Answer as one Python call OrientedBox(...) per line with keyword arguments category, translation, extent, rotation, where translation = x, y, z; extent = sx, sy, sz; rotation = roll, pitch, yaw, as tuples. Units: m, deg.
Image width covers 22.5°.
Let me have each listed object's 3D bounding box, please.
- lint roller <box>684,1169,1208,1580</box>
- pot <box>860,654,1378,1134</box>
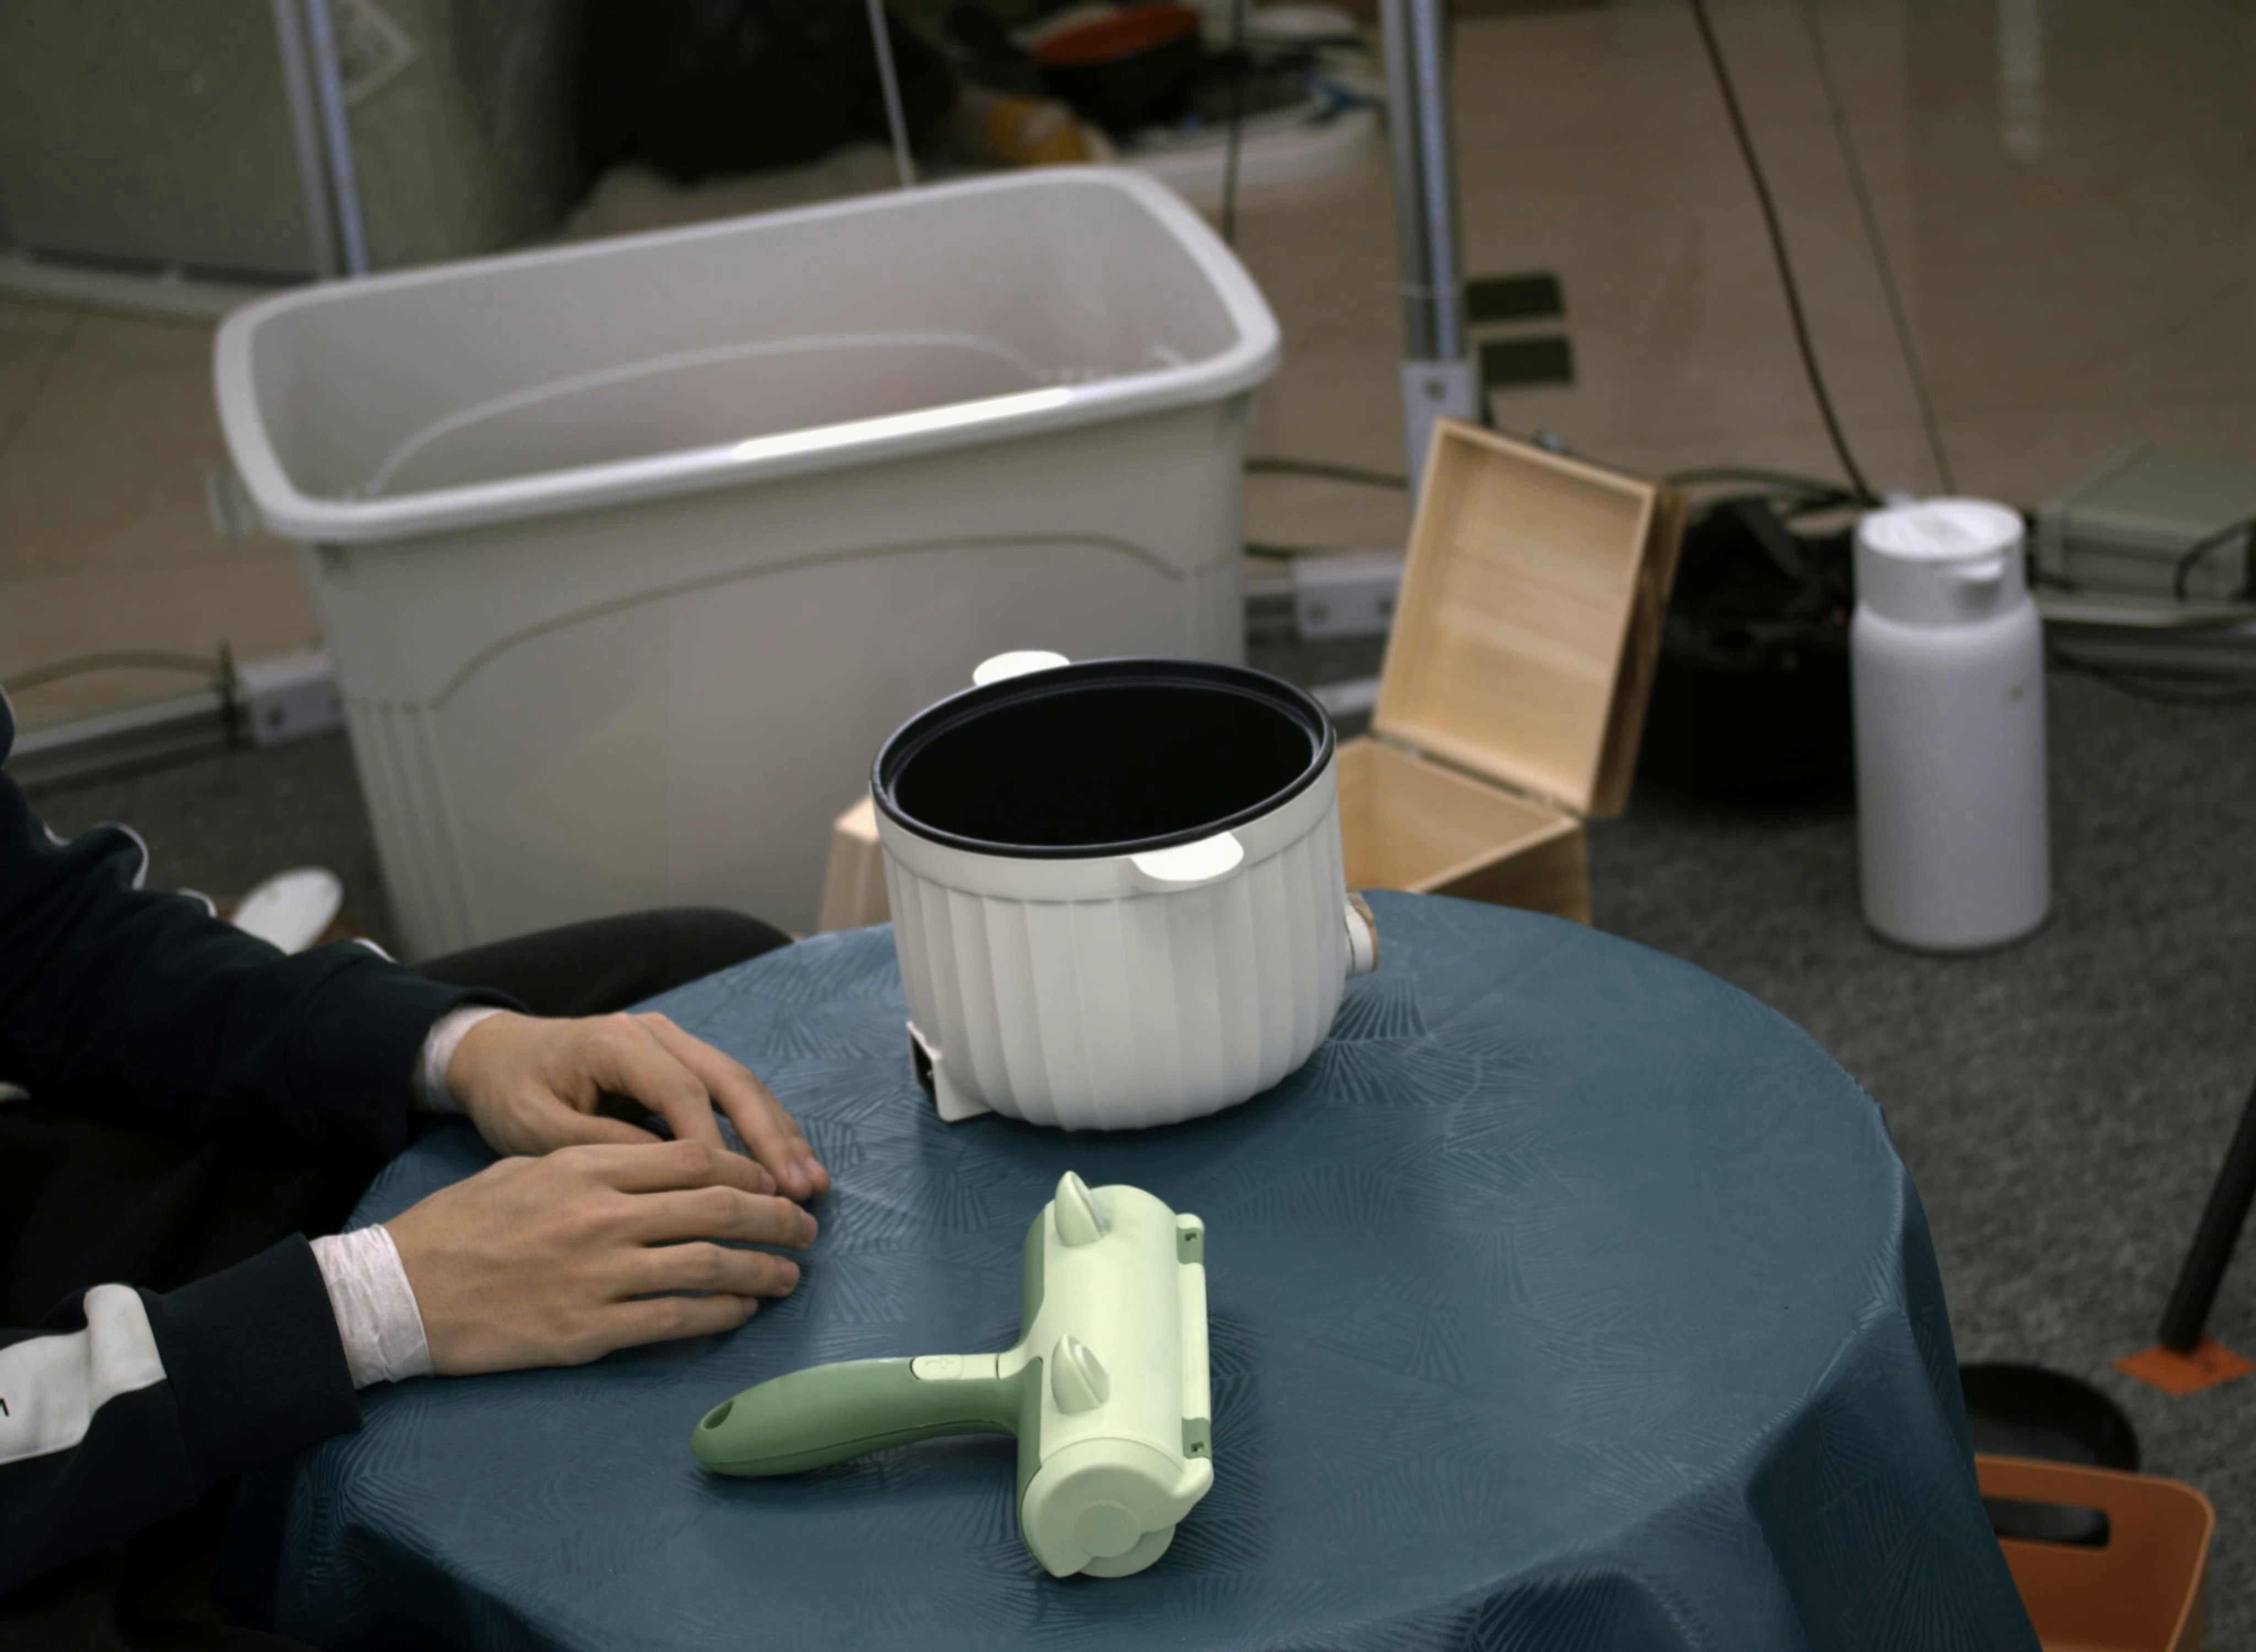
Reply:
OrientedBox(category="lint roller", translation=(-0.064, 0.185, 1.972), extent=(0.183, 0.083, 0.195), rotation=(-1, 26, 0))
OrientedBox(category="pot", translation=(0.000, 0.029, 2.214), extent=(0.190, 0.145, 0.237), rotation=(-17, 28, -14))
